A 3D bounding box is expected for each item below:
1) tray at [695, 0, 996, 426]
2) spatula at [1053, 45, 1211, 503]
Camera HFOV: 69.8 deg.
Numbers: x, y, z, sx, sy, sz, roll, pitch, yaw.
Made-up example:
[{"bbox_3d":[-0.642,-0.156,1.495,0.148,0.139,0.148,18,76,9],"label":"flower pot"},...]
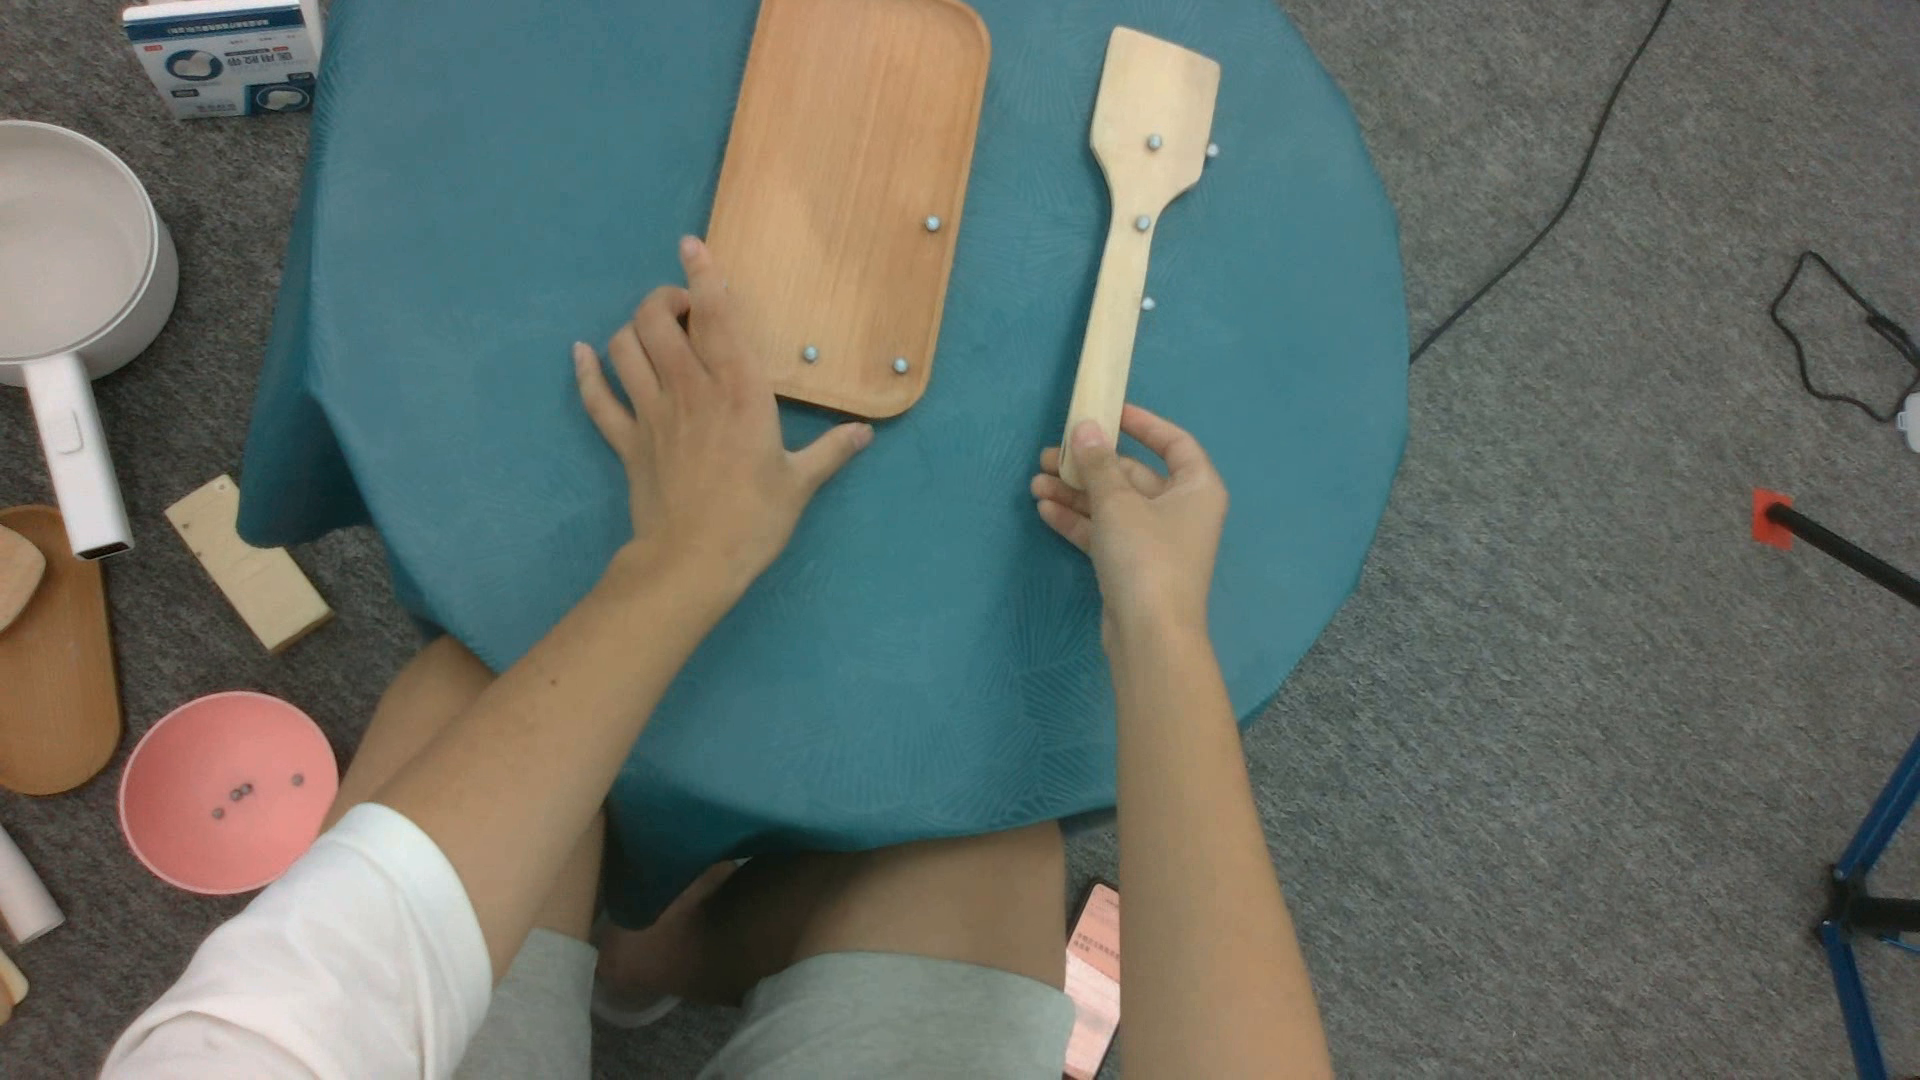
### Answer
[{"bbox_3d":[-0.060,-0.188,0.753,0.130,0.023,0.251,15,74,-13],"label":"tray"},{"bbox_3d":[0.091,-0.153,0.775,0.072,0.010,0.294,16,68,-10],"label":"spatula"}]
